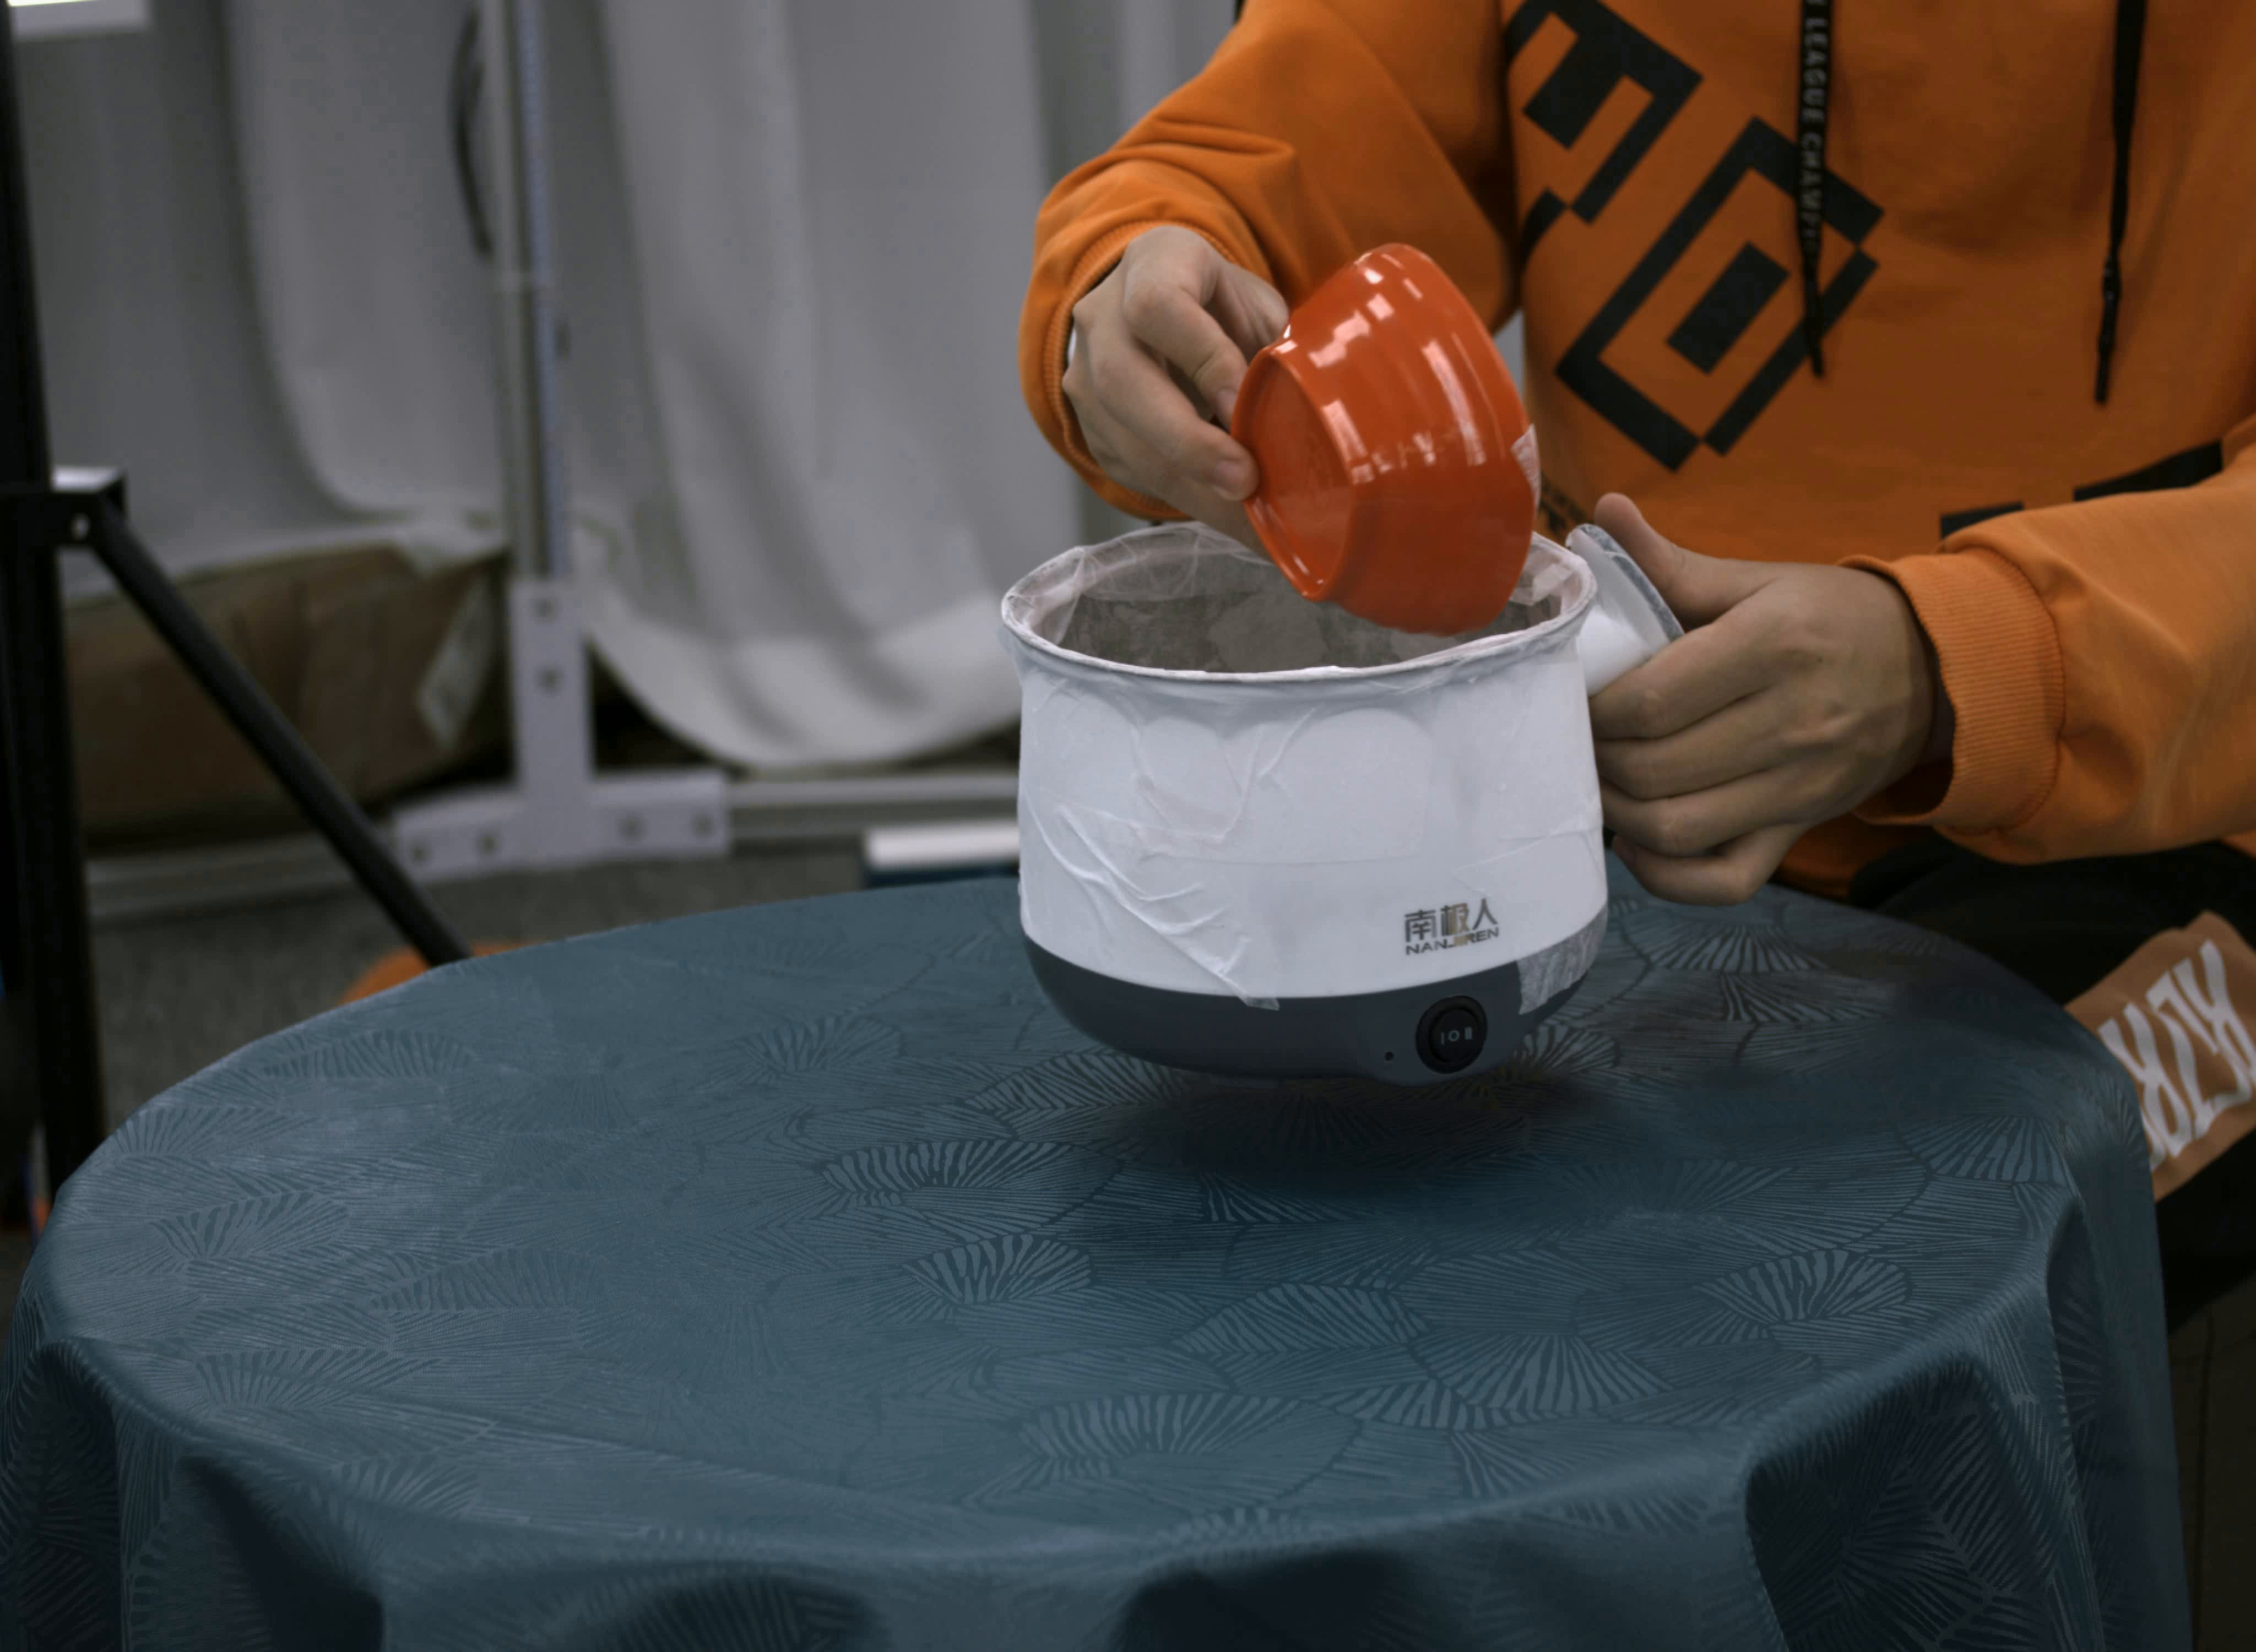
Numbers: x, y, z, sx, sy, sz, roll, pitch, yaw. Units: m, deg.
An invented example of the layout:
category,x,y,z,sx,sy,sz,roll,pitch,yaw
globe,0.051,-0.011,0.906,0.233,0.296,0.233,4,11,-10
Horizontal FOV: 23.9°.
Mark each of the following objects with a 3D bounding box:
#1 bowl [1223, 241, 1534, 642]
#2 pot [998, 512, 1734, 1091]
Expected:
category,x,y,z,sx,sy,sz,roll,pitch,yaw
bowl,0.067,-0.107,1.557,0.050,0.118,0.121,-16,20,-23
pot,0.077,-0.014,1.601,0.229,0.136,0.182,-12,20,-24
